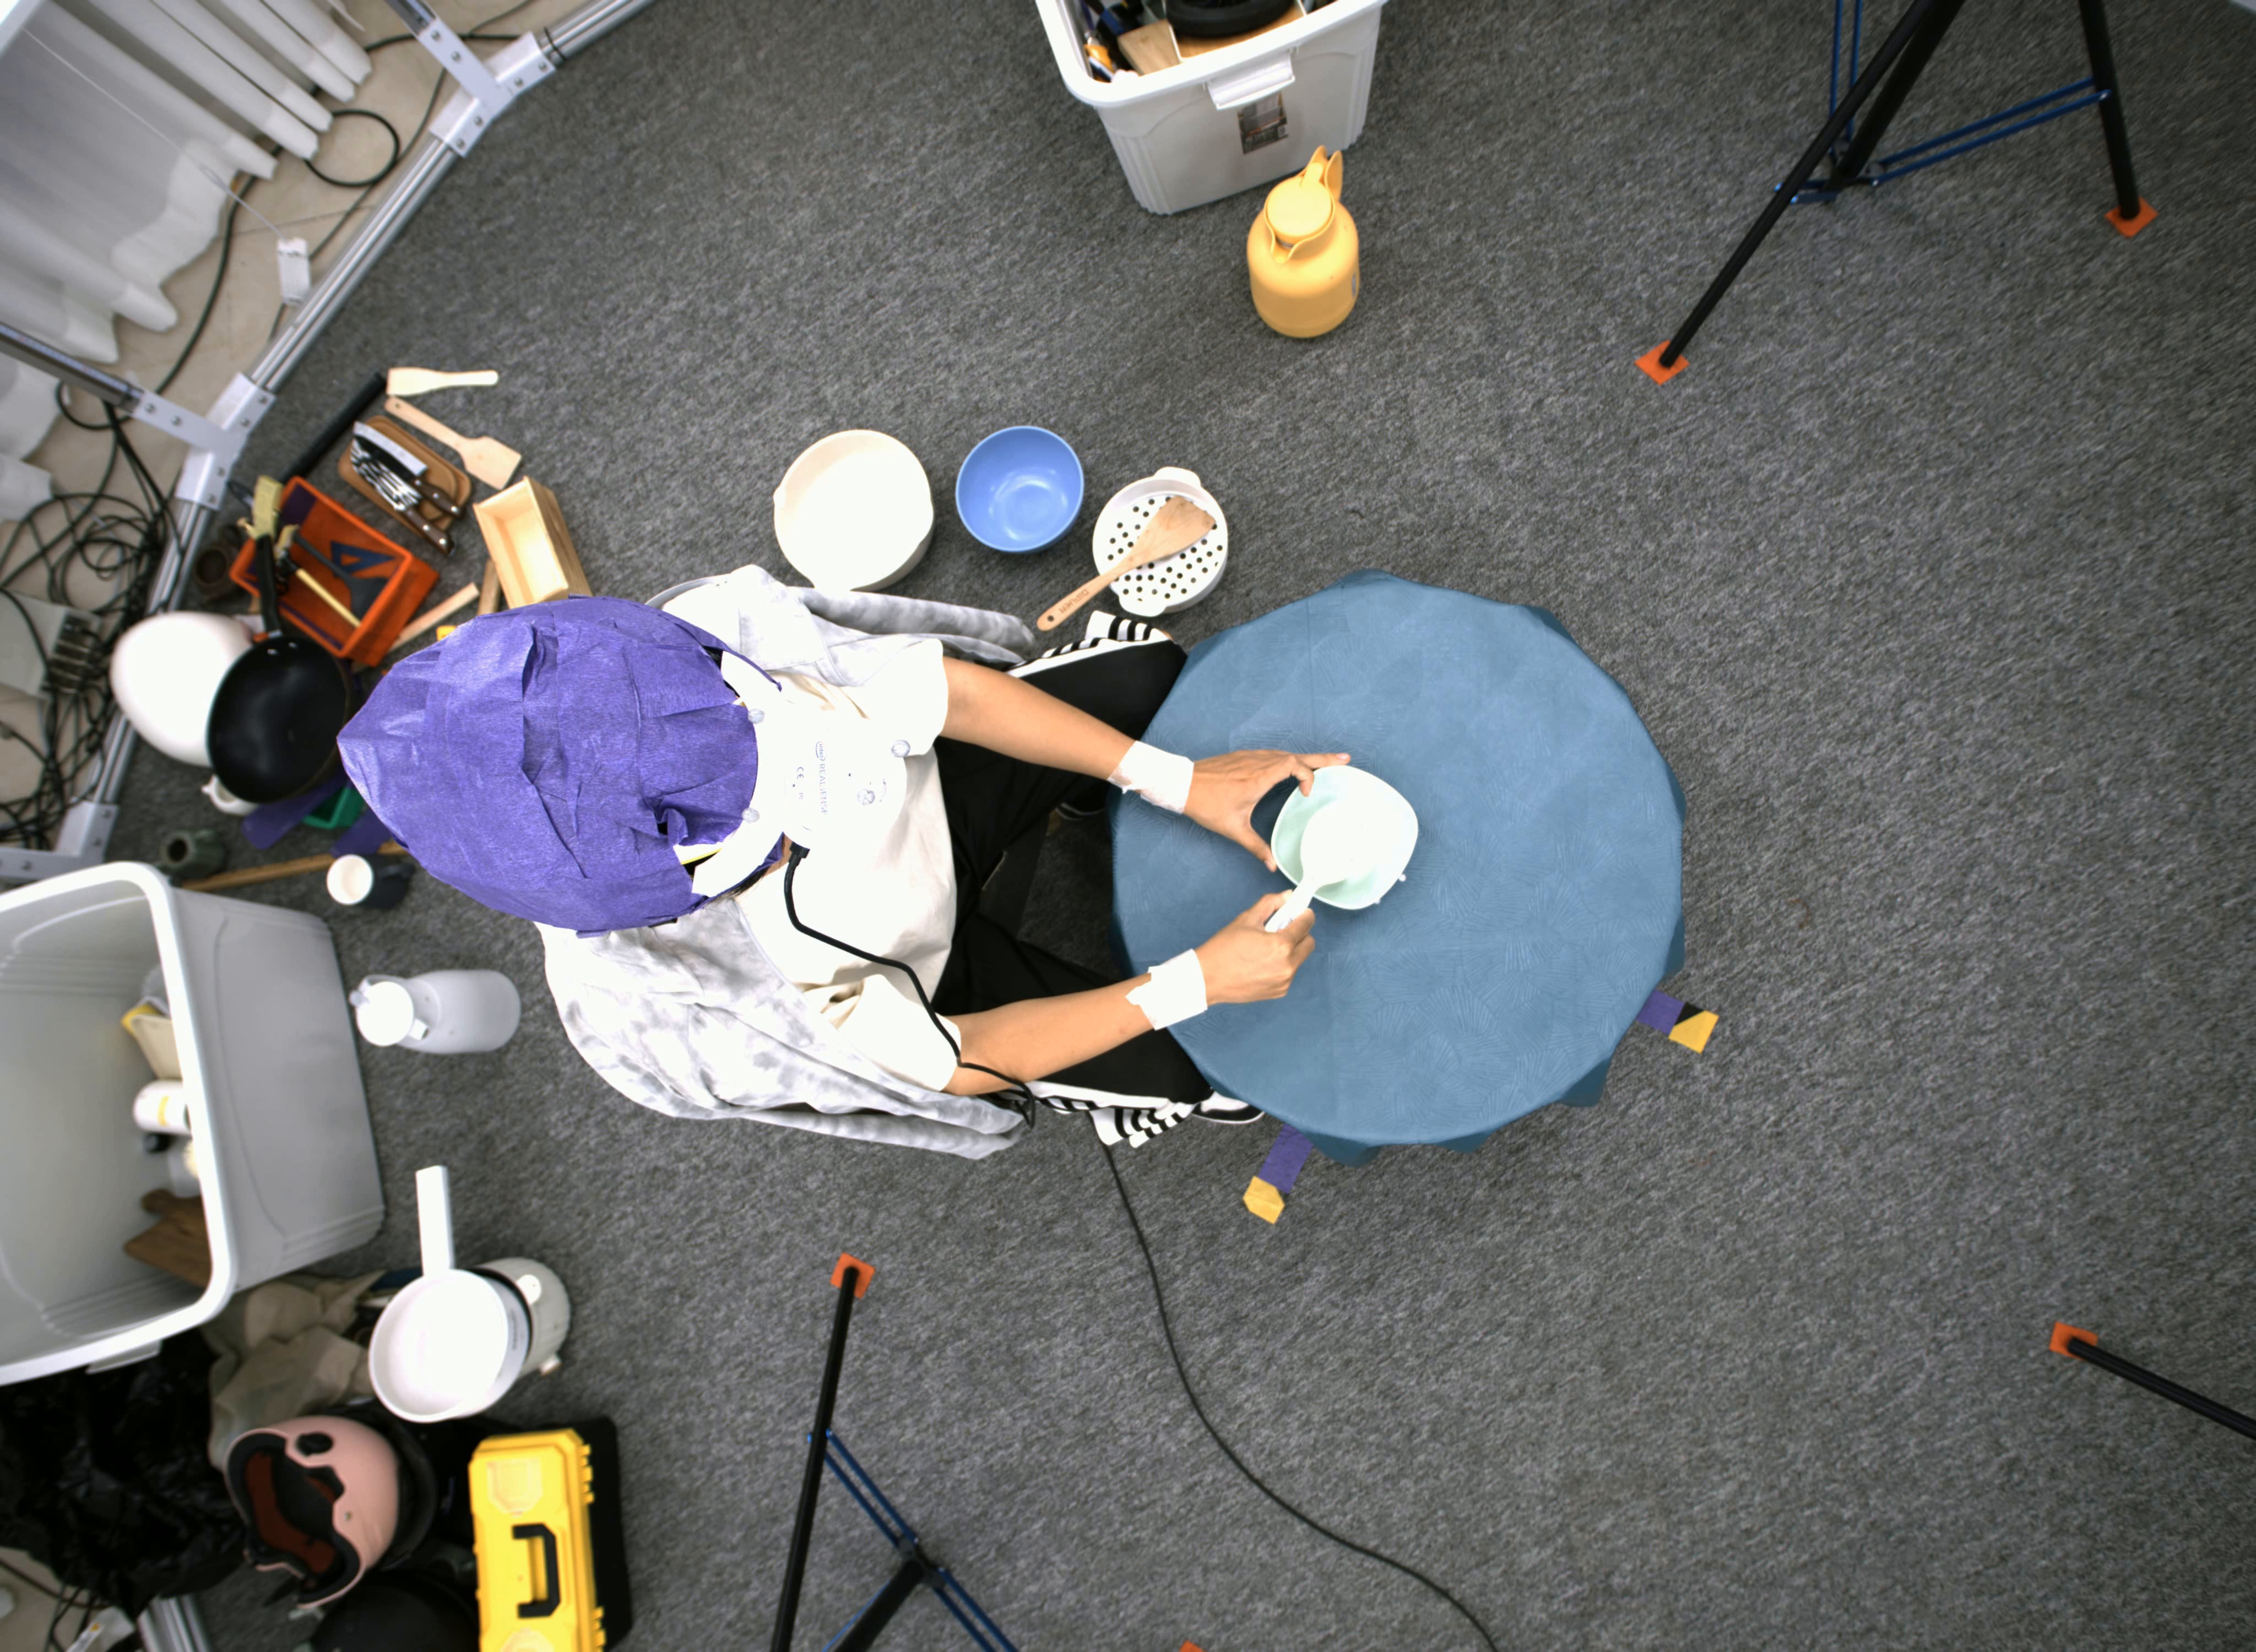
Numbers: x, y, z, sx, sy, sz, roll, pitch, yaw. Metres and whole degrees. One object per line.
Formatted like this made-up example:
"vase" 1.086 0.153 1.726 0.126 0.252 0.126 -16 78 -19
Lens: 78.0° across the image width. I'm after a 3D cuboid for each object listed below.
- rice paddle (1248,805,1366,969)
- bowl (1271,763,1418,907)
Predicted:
"rice paddle" 0.183 0.056 1.401 0.069 0.030 0.201 35 64 1
"bowl" 0.226 0.010 1.442 0.152 0.058 0.151 -1 88 10
